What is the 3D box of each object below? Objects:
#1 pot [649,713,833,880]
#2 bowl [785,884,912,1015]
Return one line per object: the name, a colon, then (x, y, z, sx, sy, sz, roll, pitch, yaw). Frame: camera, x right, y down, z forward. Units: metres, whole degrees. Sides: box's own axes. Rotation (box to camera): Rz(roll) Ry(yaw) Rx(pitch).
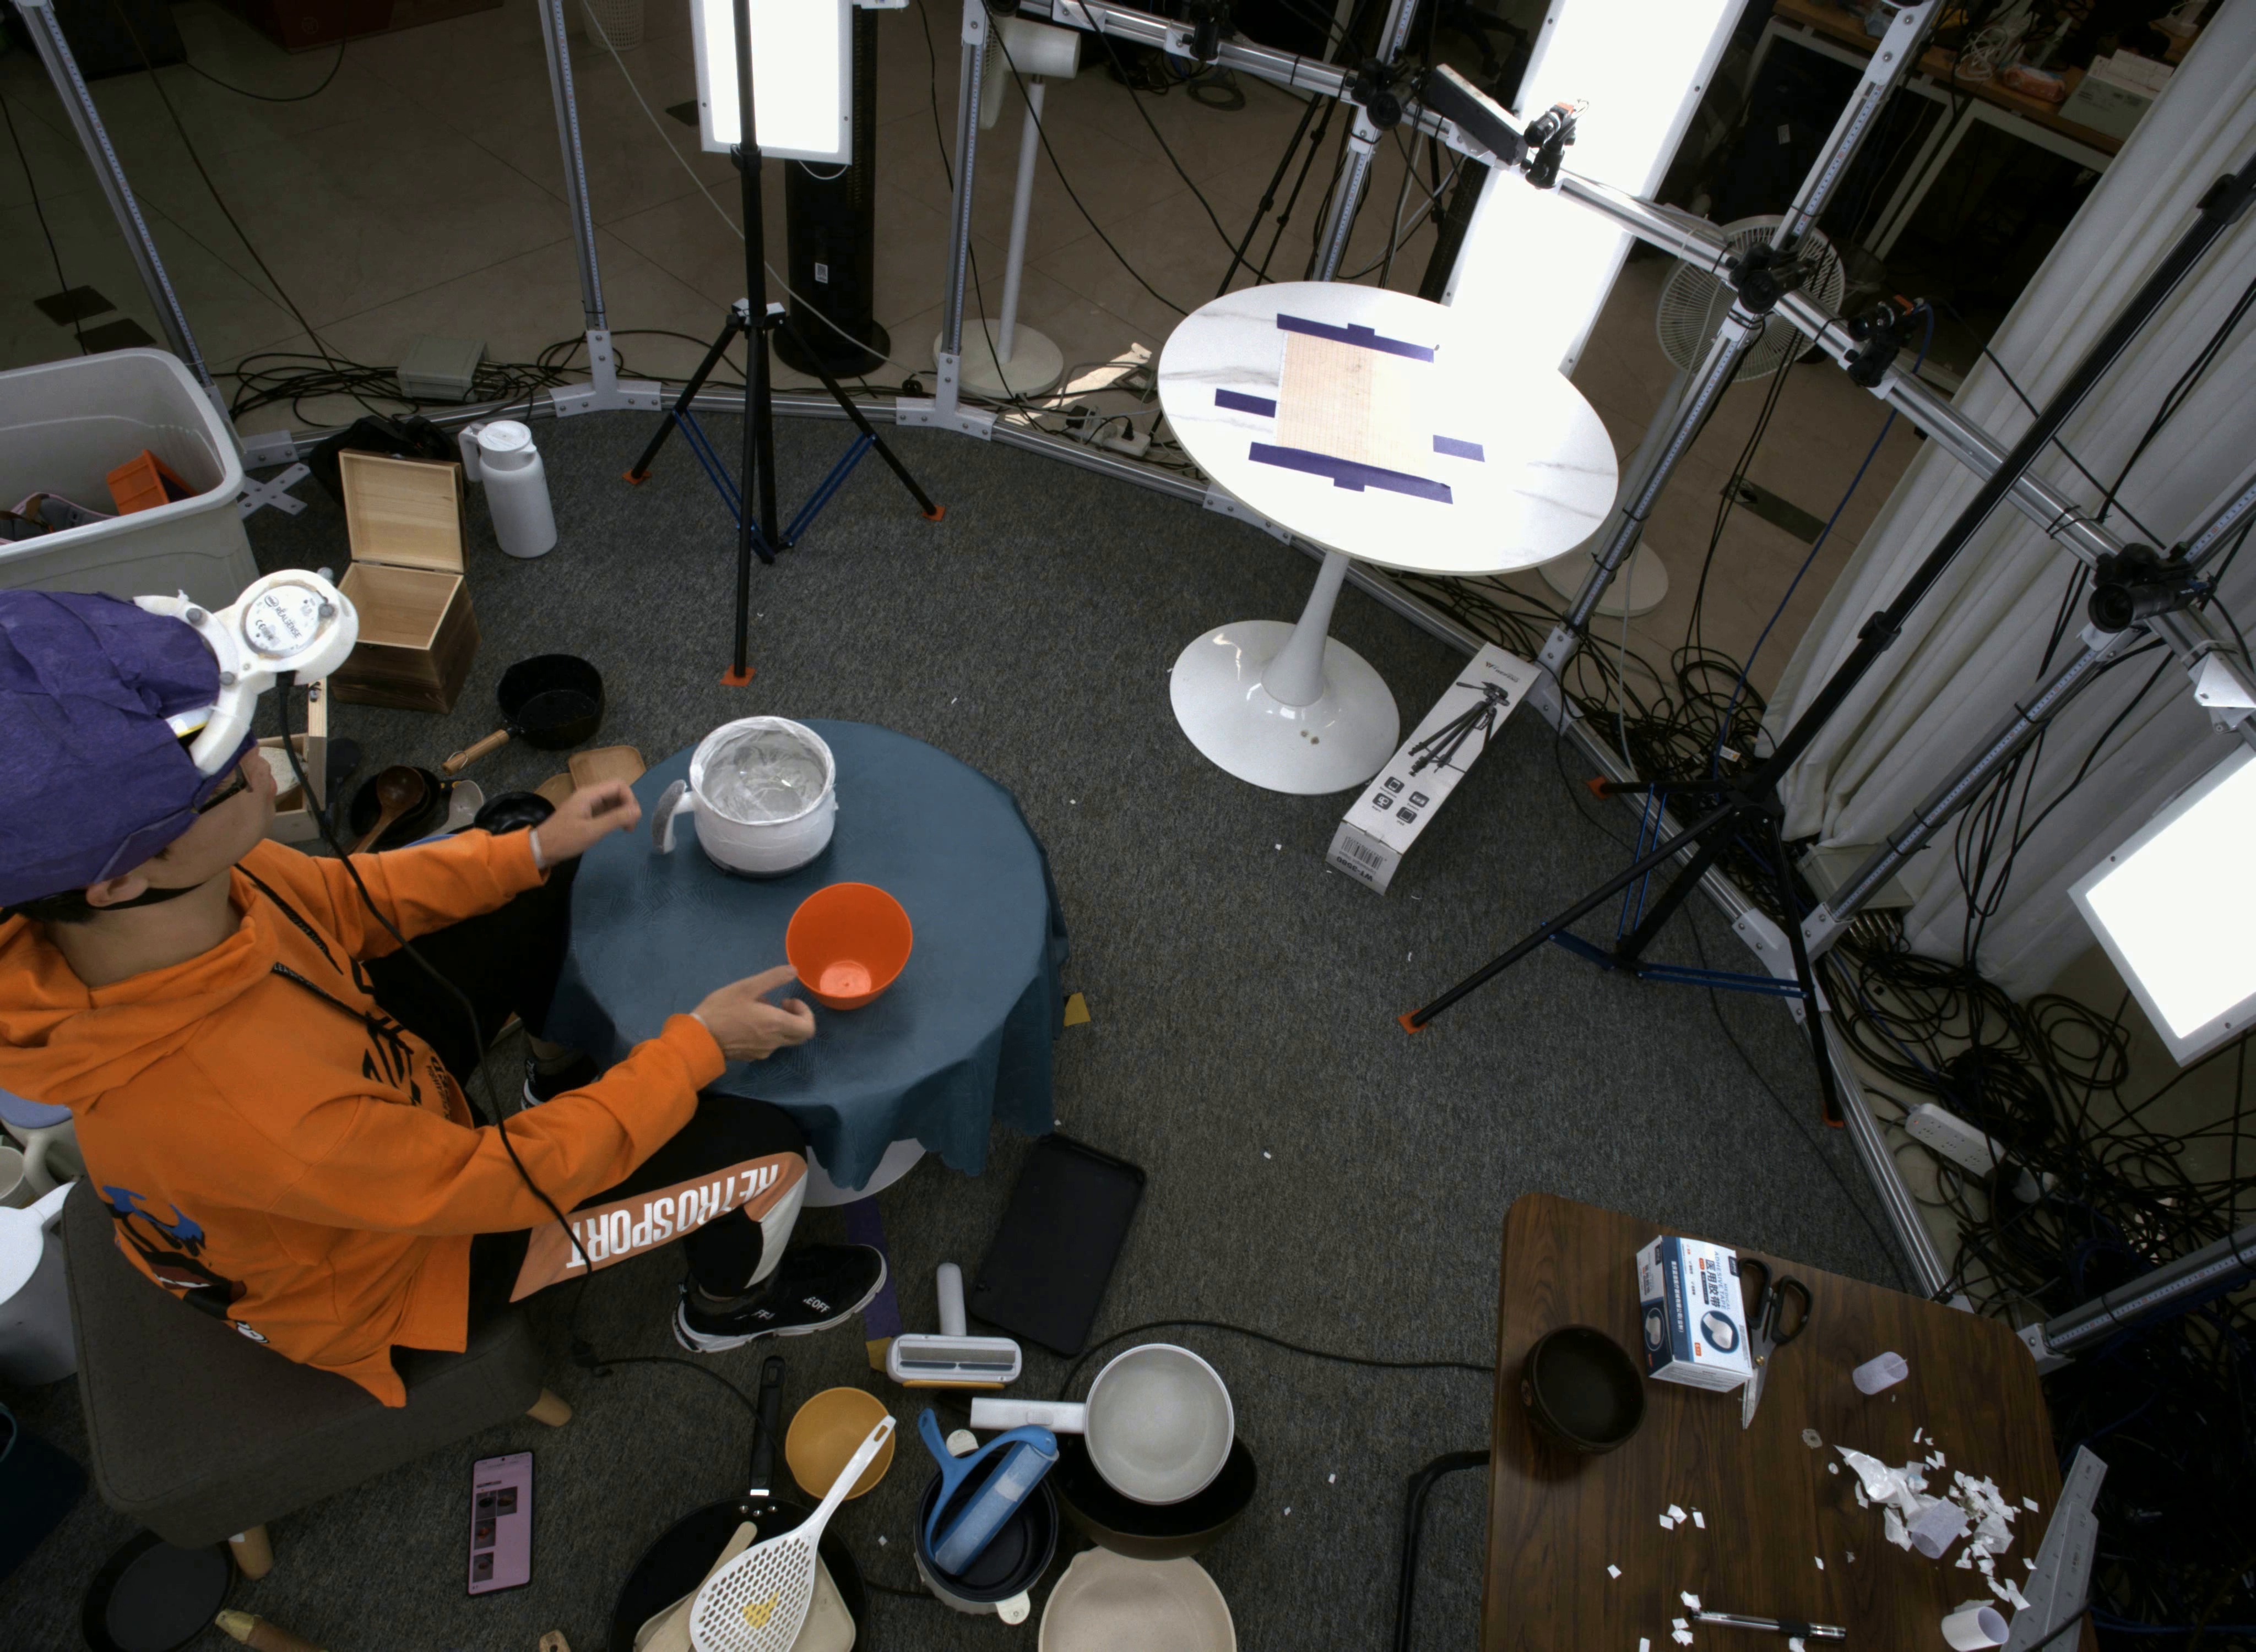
pot: (-0.488, -0.027, 1.628, 0.235, 0.139, 0.174, -15, 57, -24)
bowl: (-0.334, 0.159, 1.557, 0.147, 0.107, 0.145, 7, 53, -8)
